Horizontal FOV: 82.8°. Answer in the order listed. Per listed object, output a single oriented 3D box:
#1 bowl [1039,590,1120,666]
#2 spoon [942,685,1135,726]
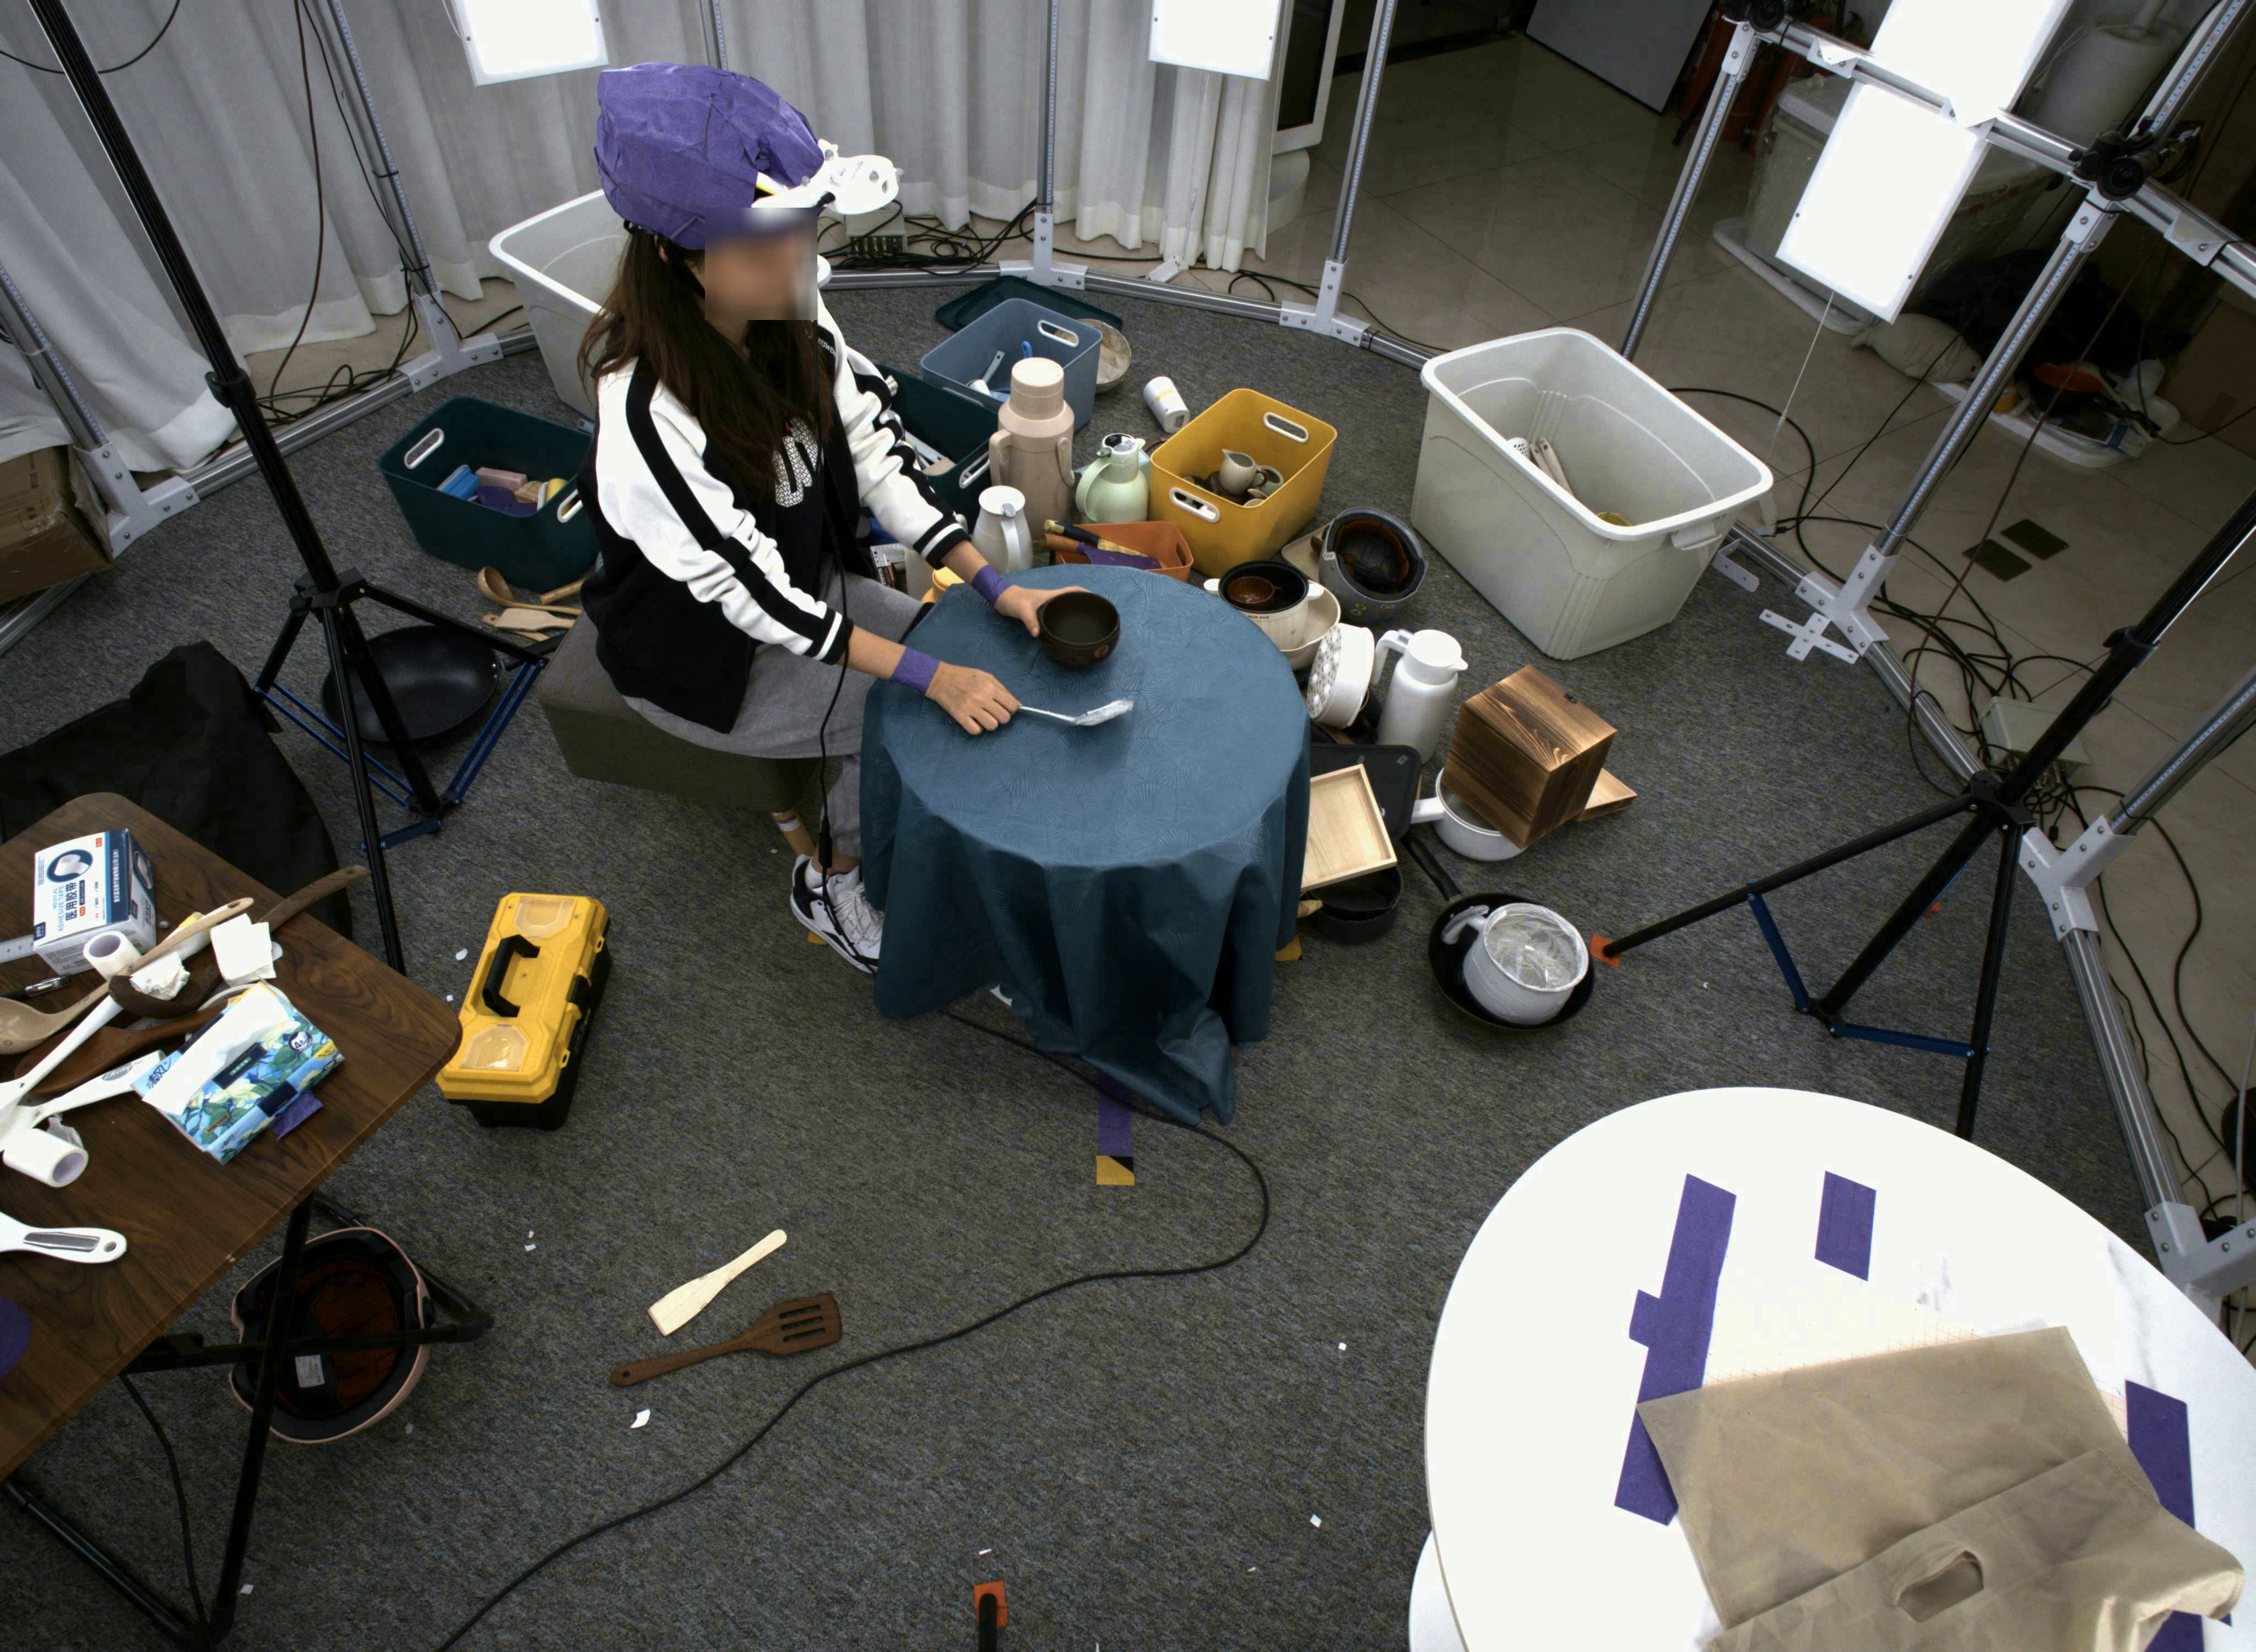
[{"bbox_3d":[-0.070,-0.277,1.858,0.118,0.068,0.121,2,49,-3],"label":"bowl"},{"bbox_3d":[-0.126,-0.187,1.790,0.279,0.059,0.100,15,8,15],"label":"spoon"}]
